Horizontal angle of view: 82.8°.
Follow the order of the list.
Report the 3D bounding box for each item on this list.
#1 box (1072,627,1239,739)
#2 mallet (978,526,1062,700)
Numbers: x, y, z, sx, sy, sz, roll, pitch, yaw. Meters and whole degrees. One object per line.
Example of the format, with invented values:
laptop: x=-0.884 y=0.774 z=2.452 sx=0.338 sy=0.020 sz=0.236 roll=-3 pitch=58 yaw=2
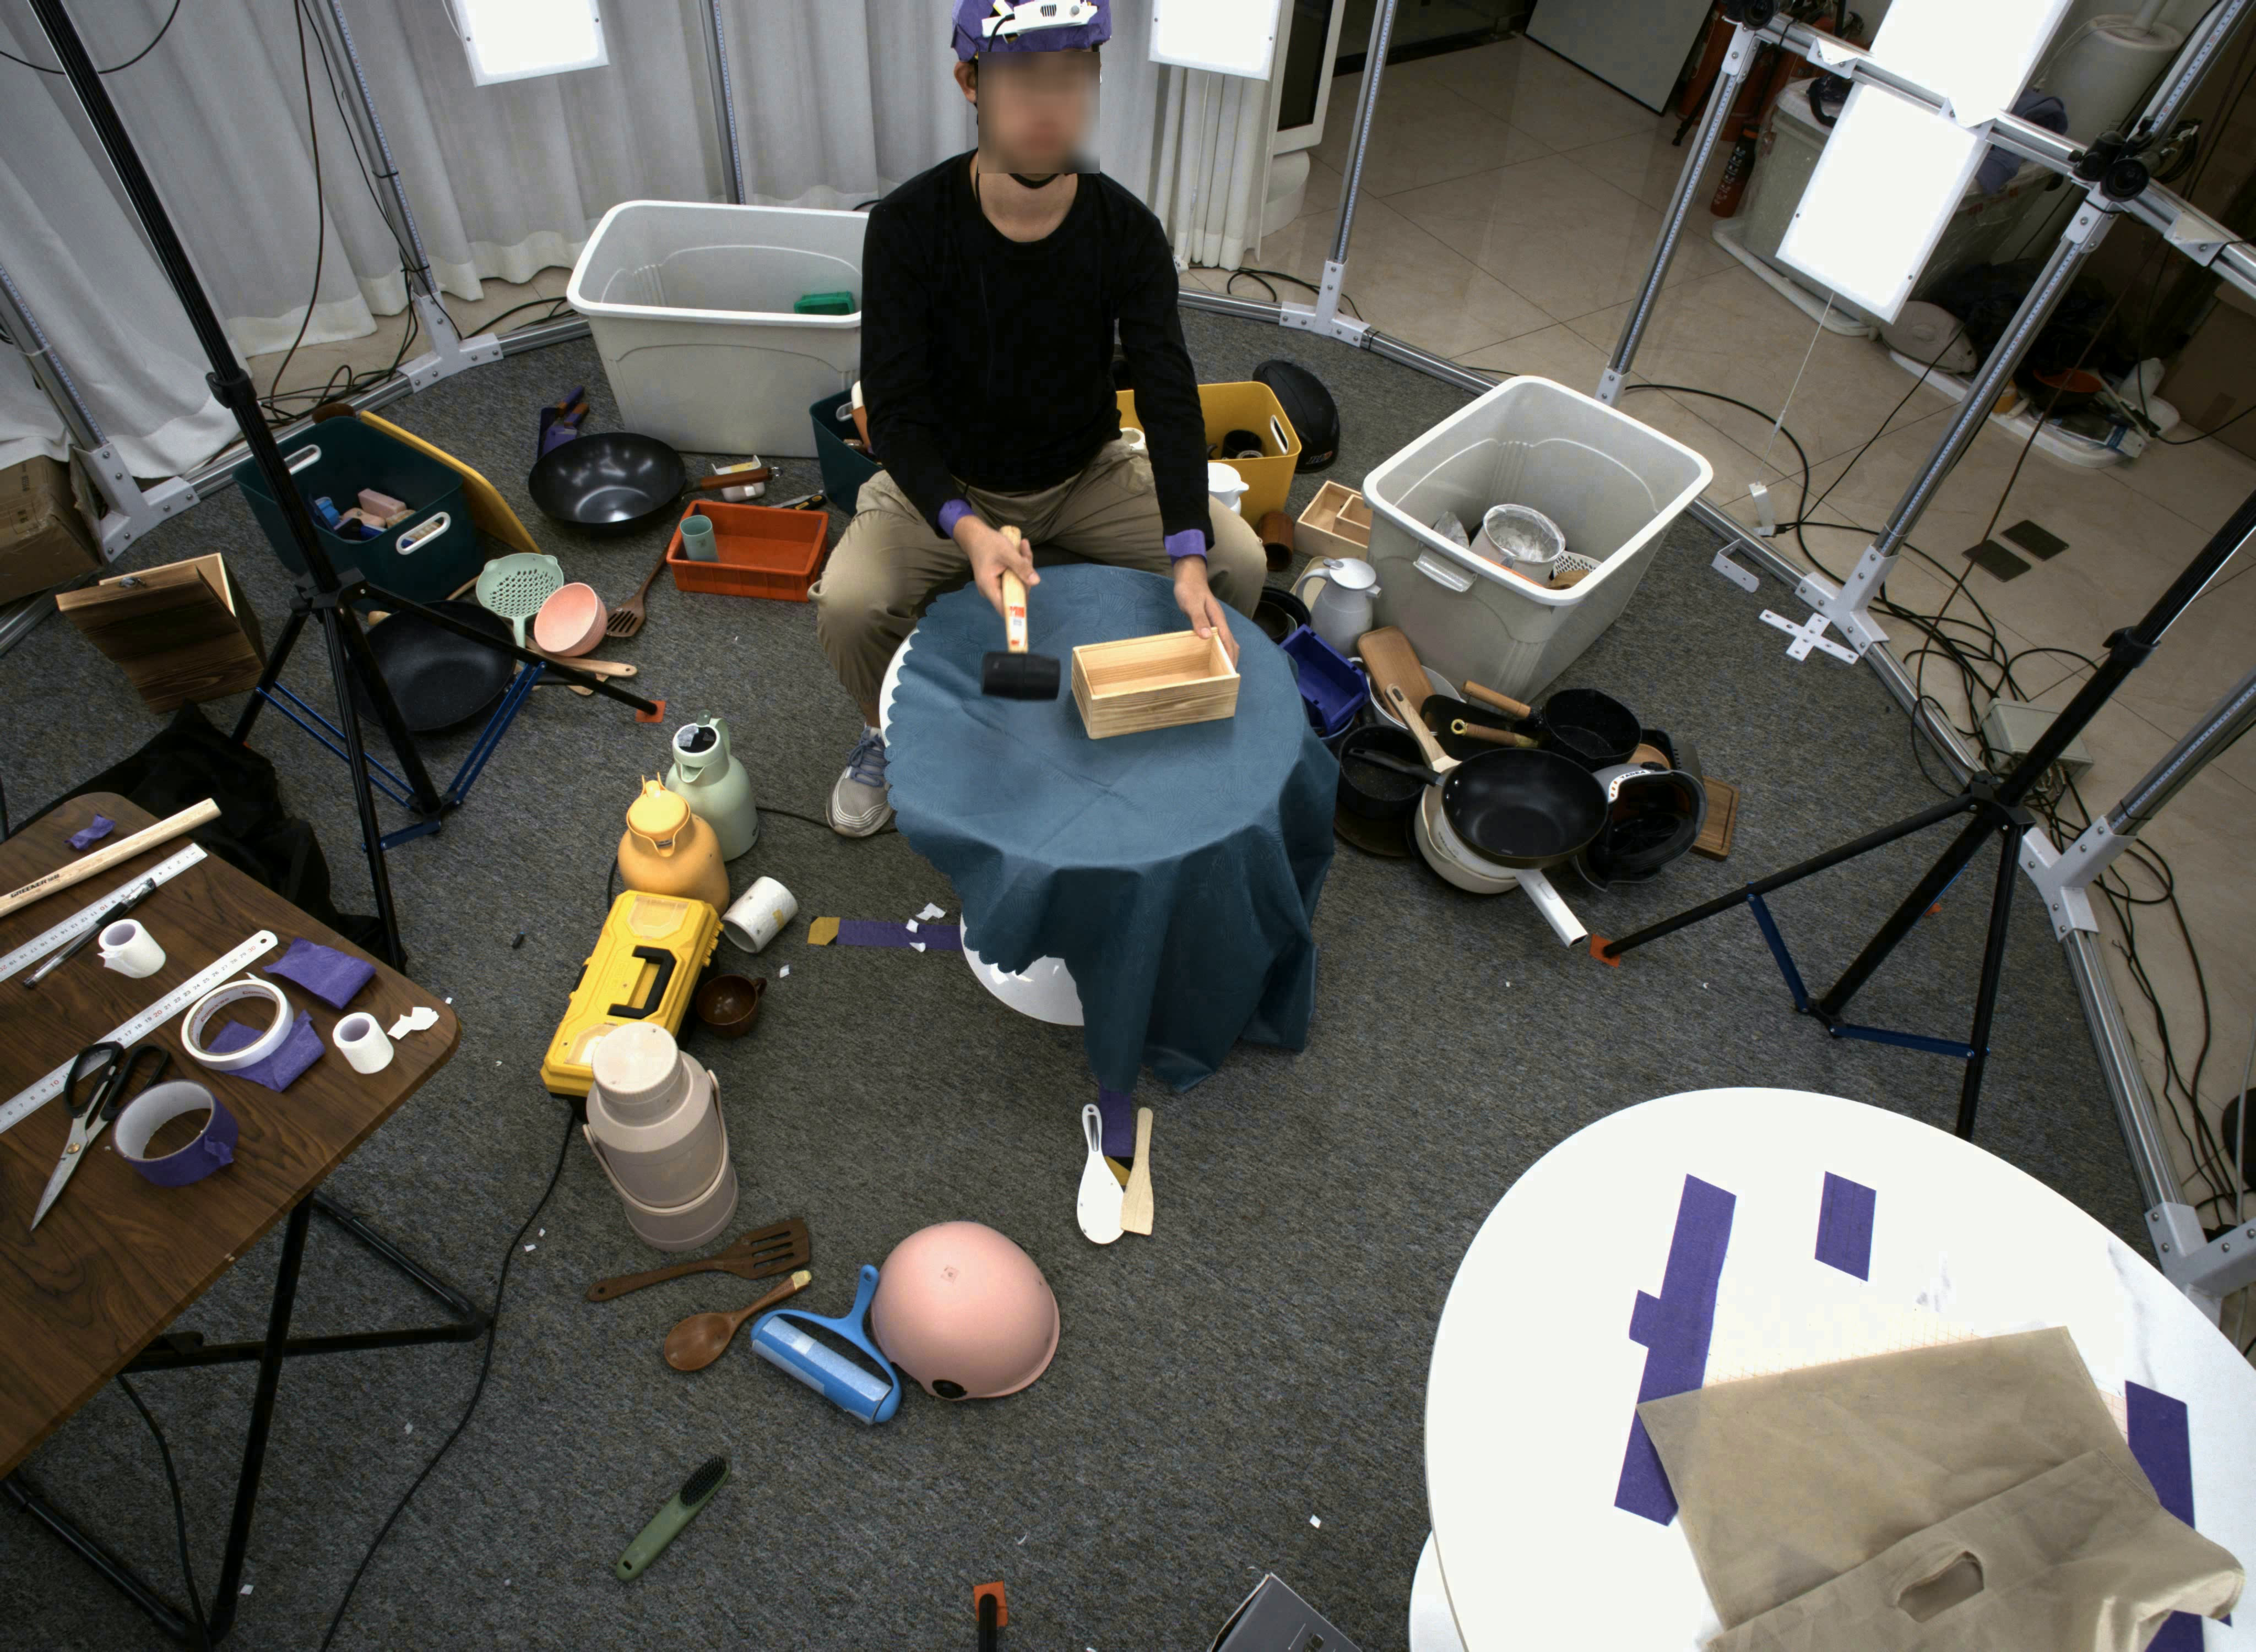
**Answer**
box: x=0.036 y=-0.201 z=1.794 sx=0.211 sy=0.078 sz=0.110 roll=-10 pitch=50 yaw=-12
mallet: x=-0.150 y=-0.304 z=1.746 sx=0.101 sy=0.063 sz=0.347 roll=7 pitch=48 yaw=-14
